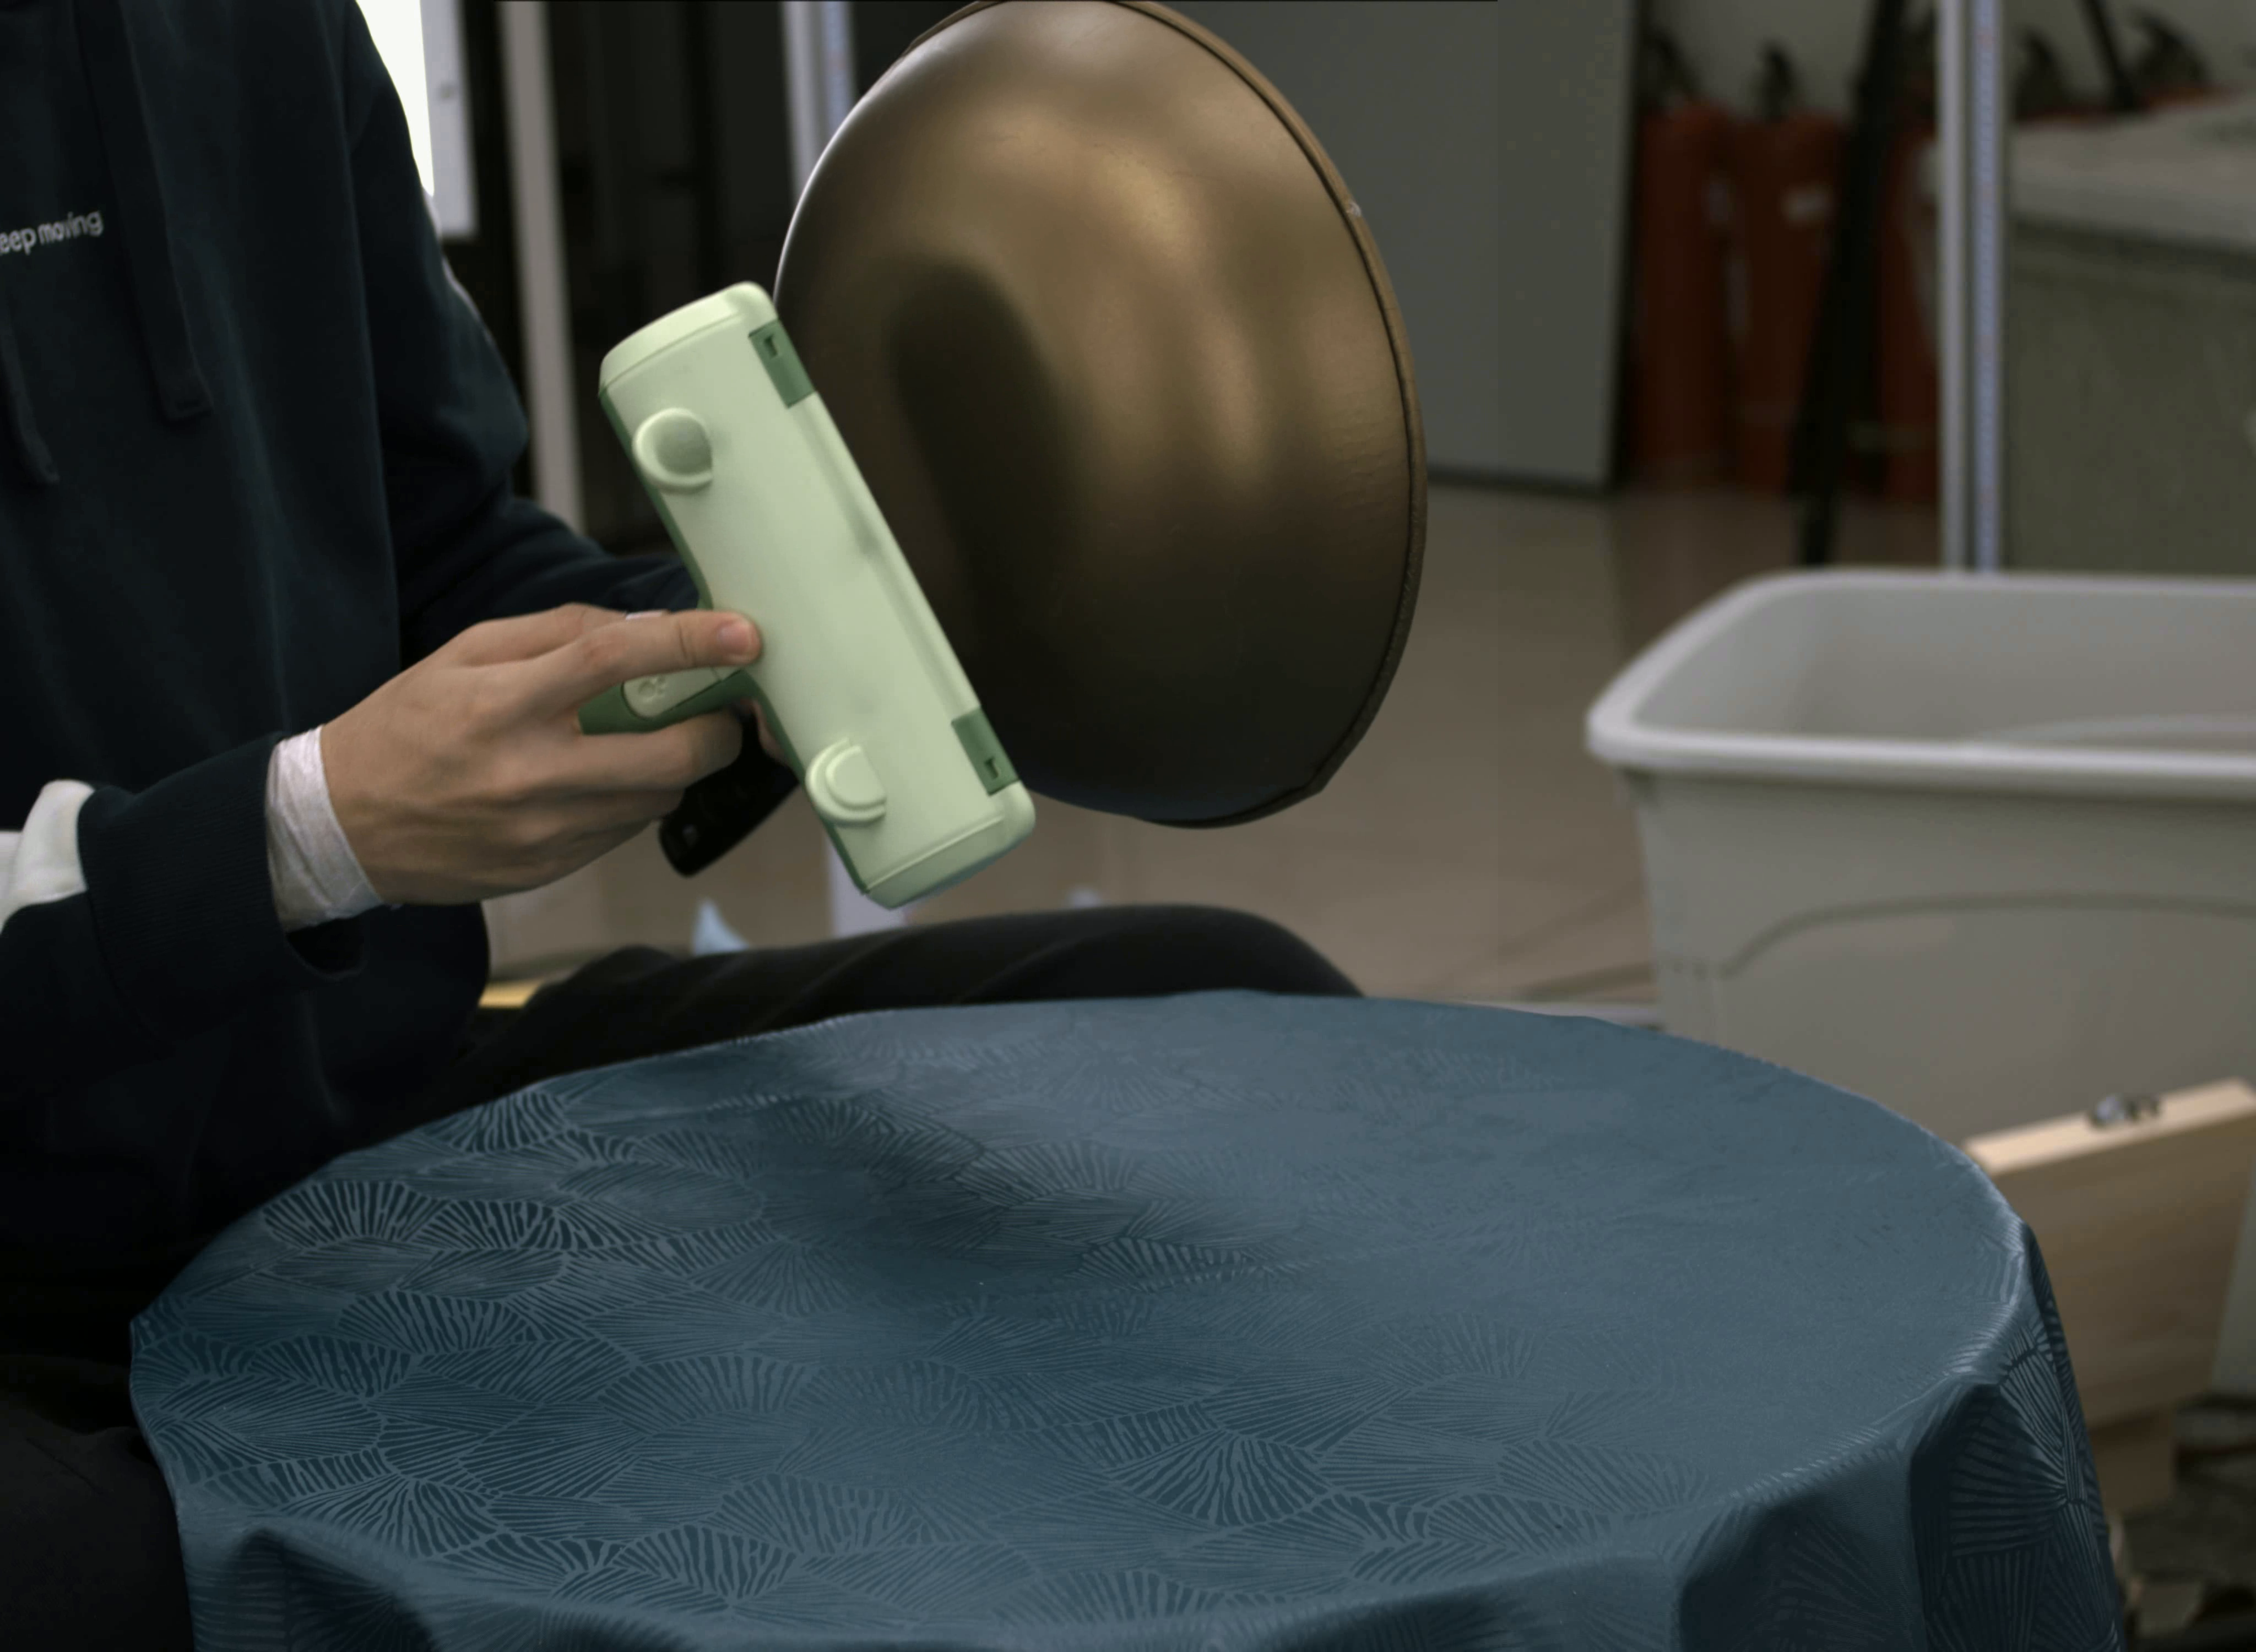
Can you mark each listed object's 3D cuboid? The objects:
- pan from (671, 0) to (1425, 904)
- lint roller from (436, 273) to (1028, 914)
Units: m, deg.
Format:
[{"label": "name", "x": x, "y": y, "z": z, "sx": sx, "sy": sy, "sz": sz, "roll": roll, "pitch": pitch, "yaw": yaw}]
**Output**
[{"label": "pan", "x": -0.076, "y": -0.089, "z": 1.798, "sx": 0.085, "sy": 0.291, "sz": 0.468, "roll": -16, "pitch": -18, "yaw": -39}, {"label": "lint roller", "x": -0.149, "y": -0.044, "z": 1.682, "sx": 0.183, "sy": 0.200, "sz": 0.081, "roll": -28, "pitch": -3, "yaw": 14}]
